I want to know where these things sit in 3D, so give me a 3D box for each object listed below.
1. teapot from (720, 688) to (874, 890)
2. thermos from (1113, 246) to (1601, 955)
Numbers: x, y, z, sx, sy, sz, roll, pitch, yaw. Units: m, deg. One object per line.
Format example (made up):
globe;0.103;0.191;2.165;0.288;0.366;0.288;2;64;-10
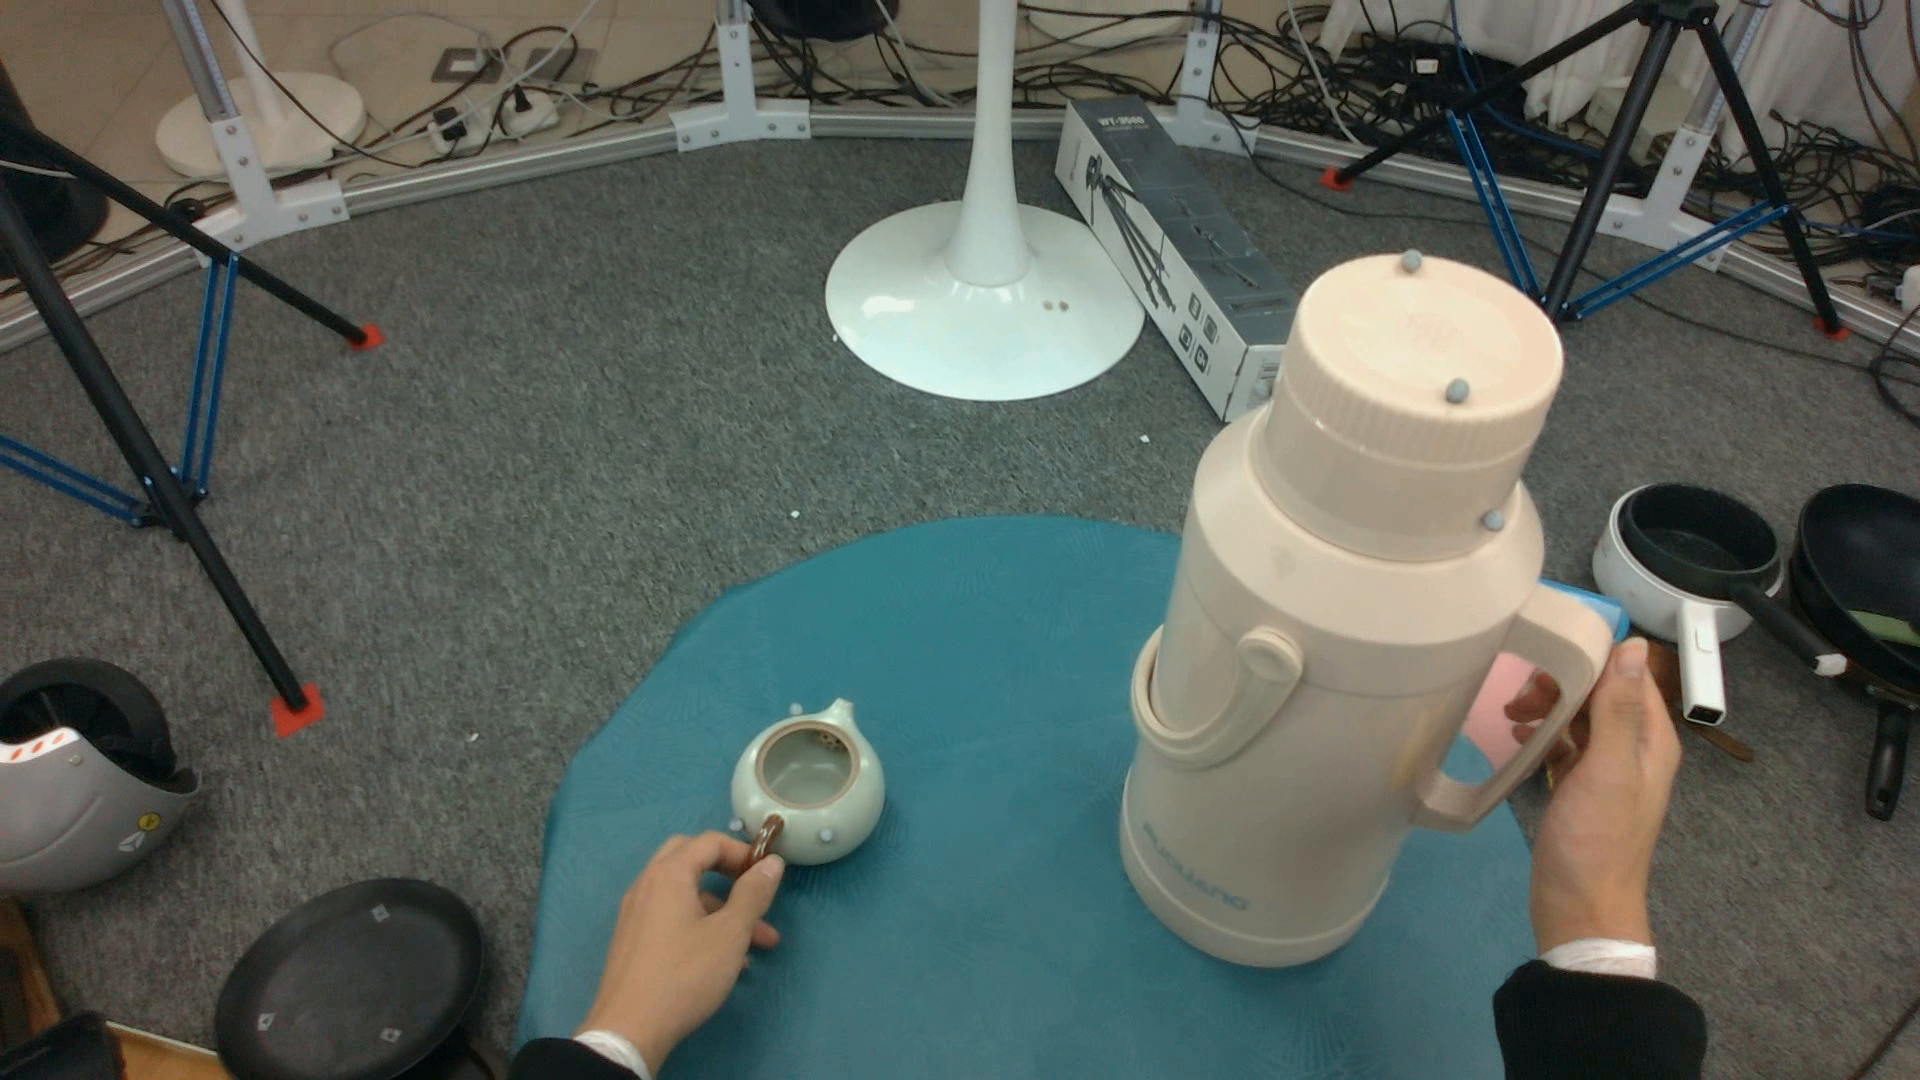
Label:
teapot;-0.101;0.150;0.818;0.092;0.059;0.129;19;49;9
thermos;0.189;0.055;0.694;0.207;0.404;0.176;27;51;22
